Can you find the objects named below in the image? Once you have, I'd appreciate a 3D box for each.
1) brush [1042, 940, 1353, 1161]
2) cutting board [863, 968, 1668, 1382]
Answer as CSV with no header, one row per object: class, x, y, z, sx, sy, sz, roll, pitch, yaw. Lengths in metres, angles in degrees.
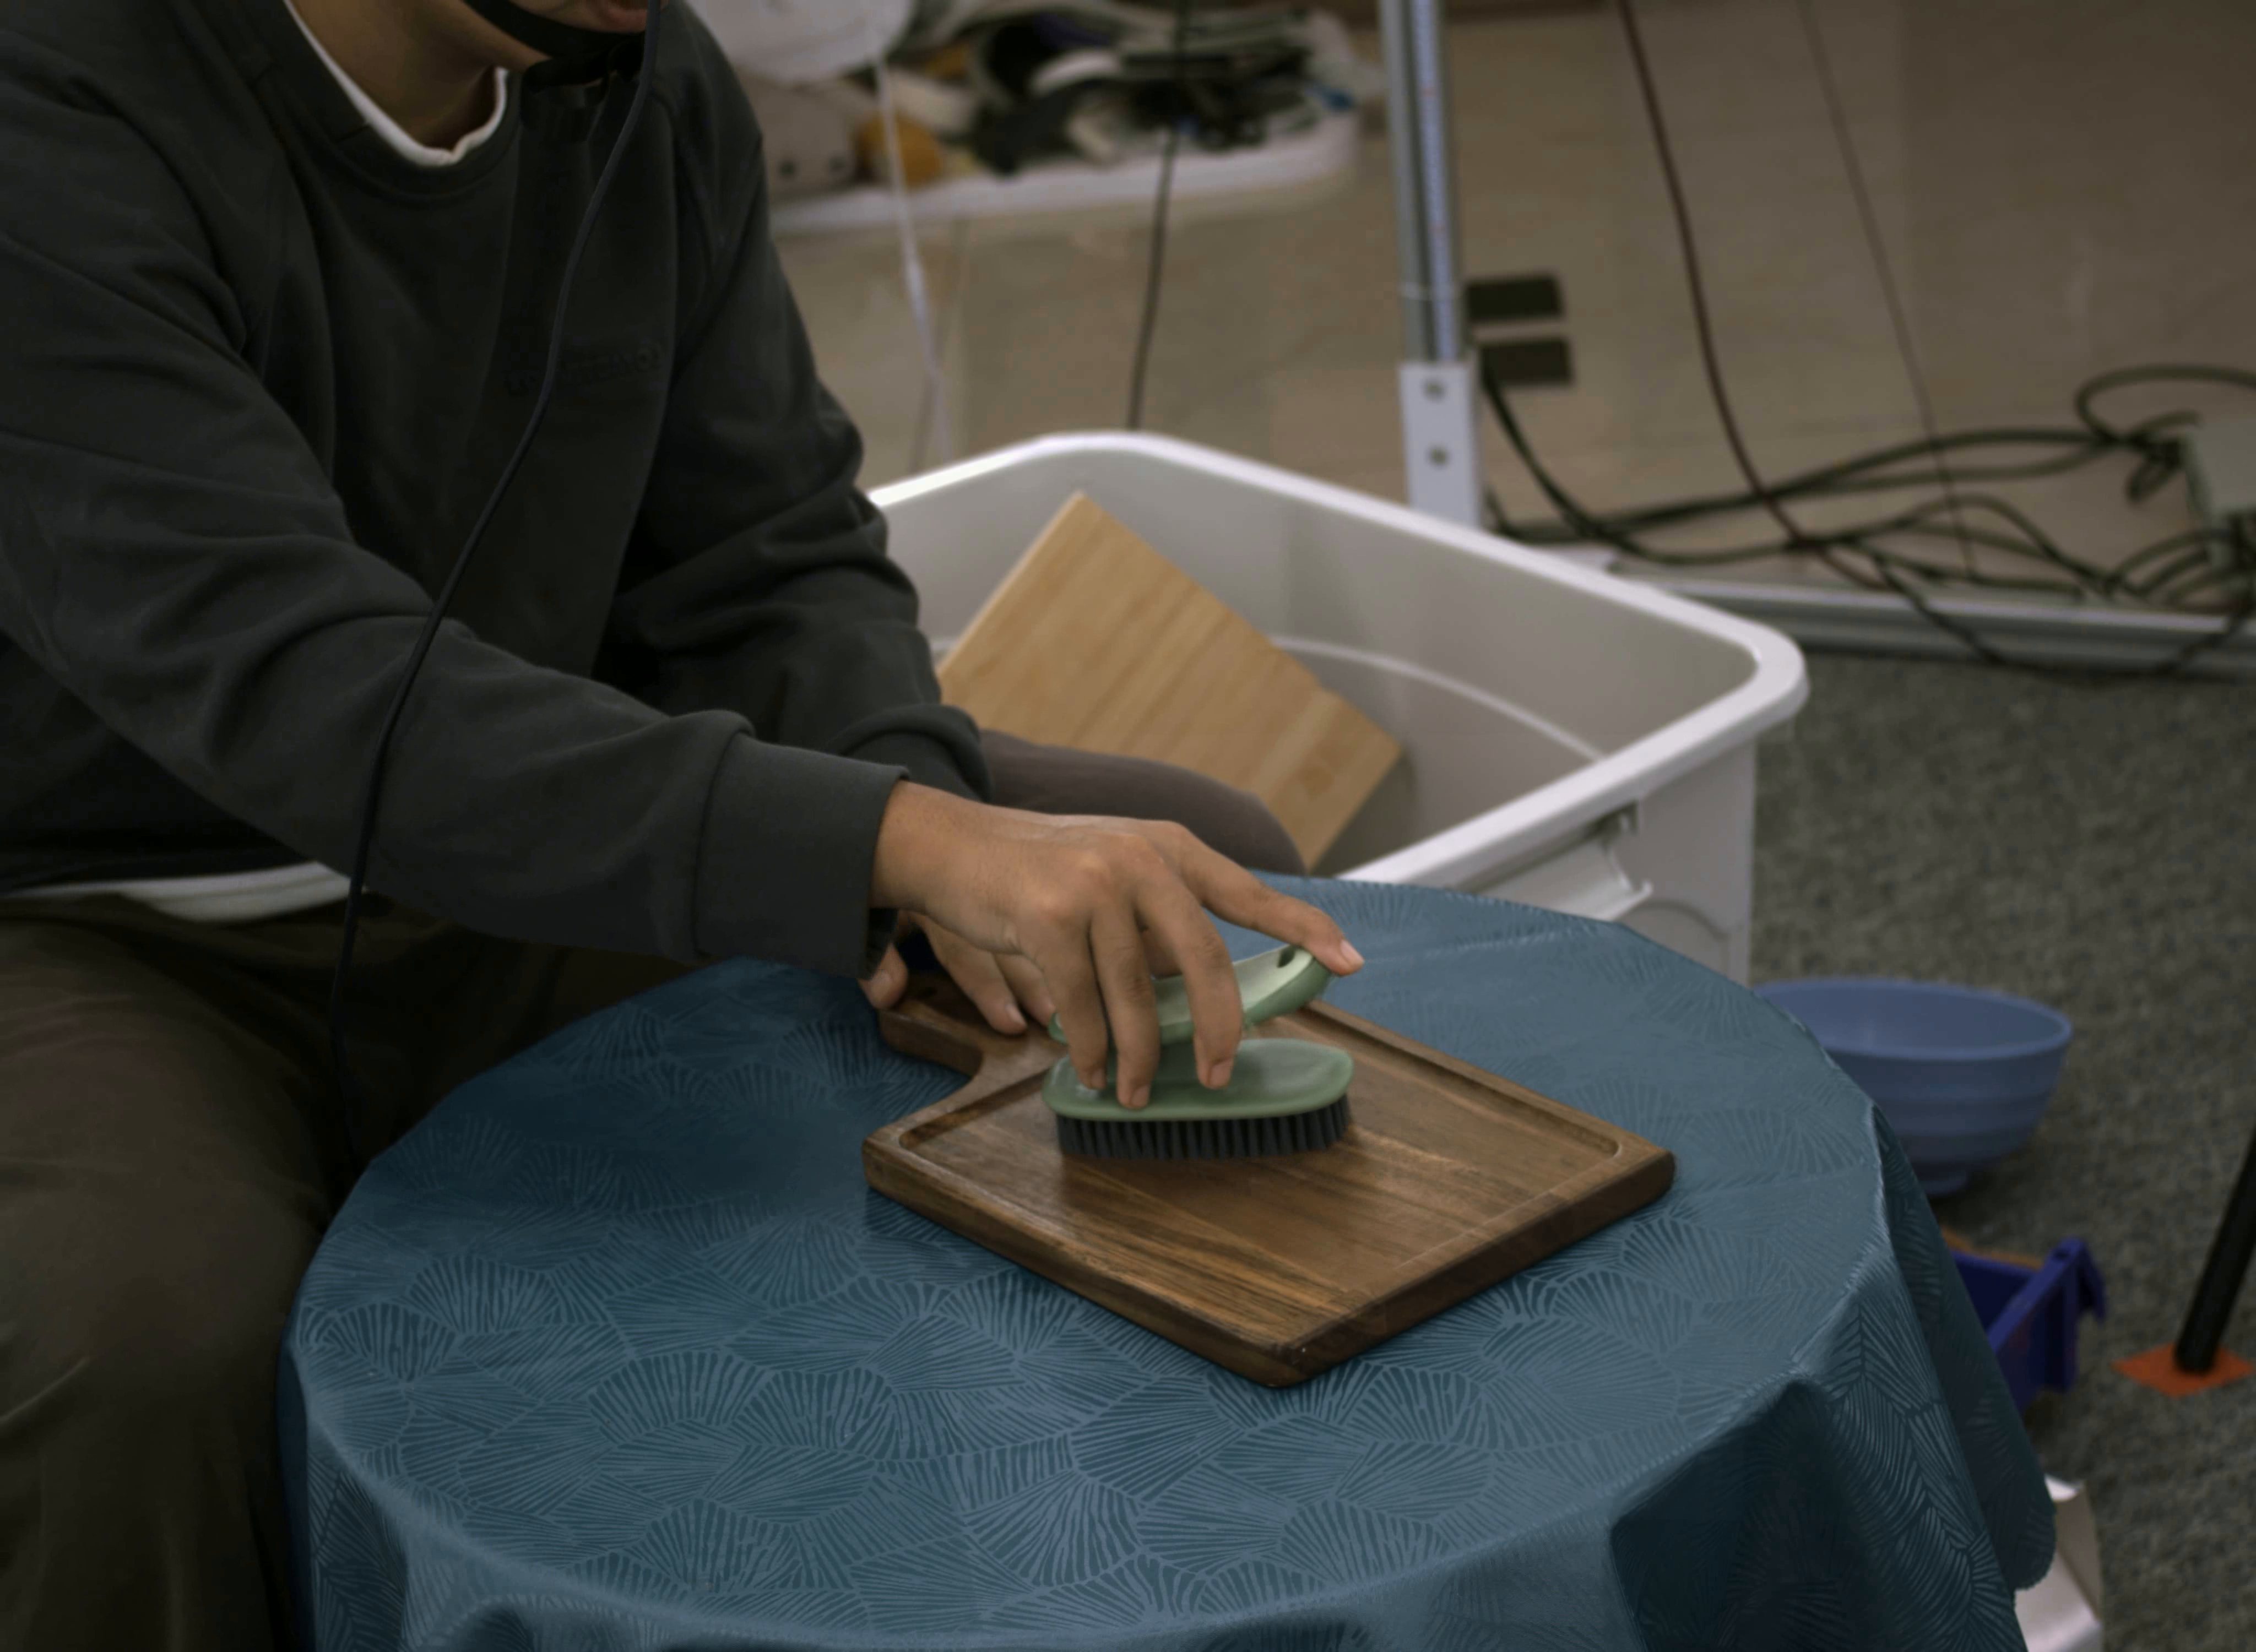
brush,0.027,0.092,2.148,0.123,0.076,0.059,-15,19,20
cutting board,0.019,0.114,2.173,0.199,0.023,0.349,-23,29,-33
